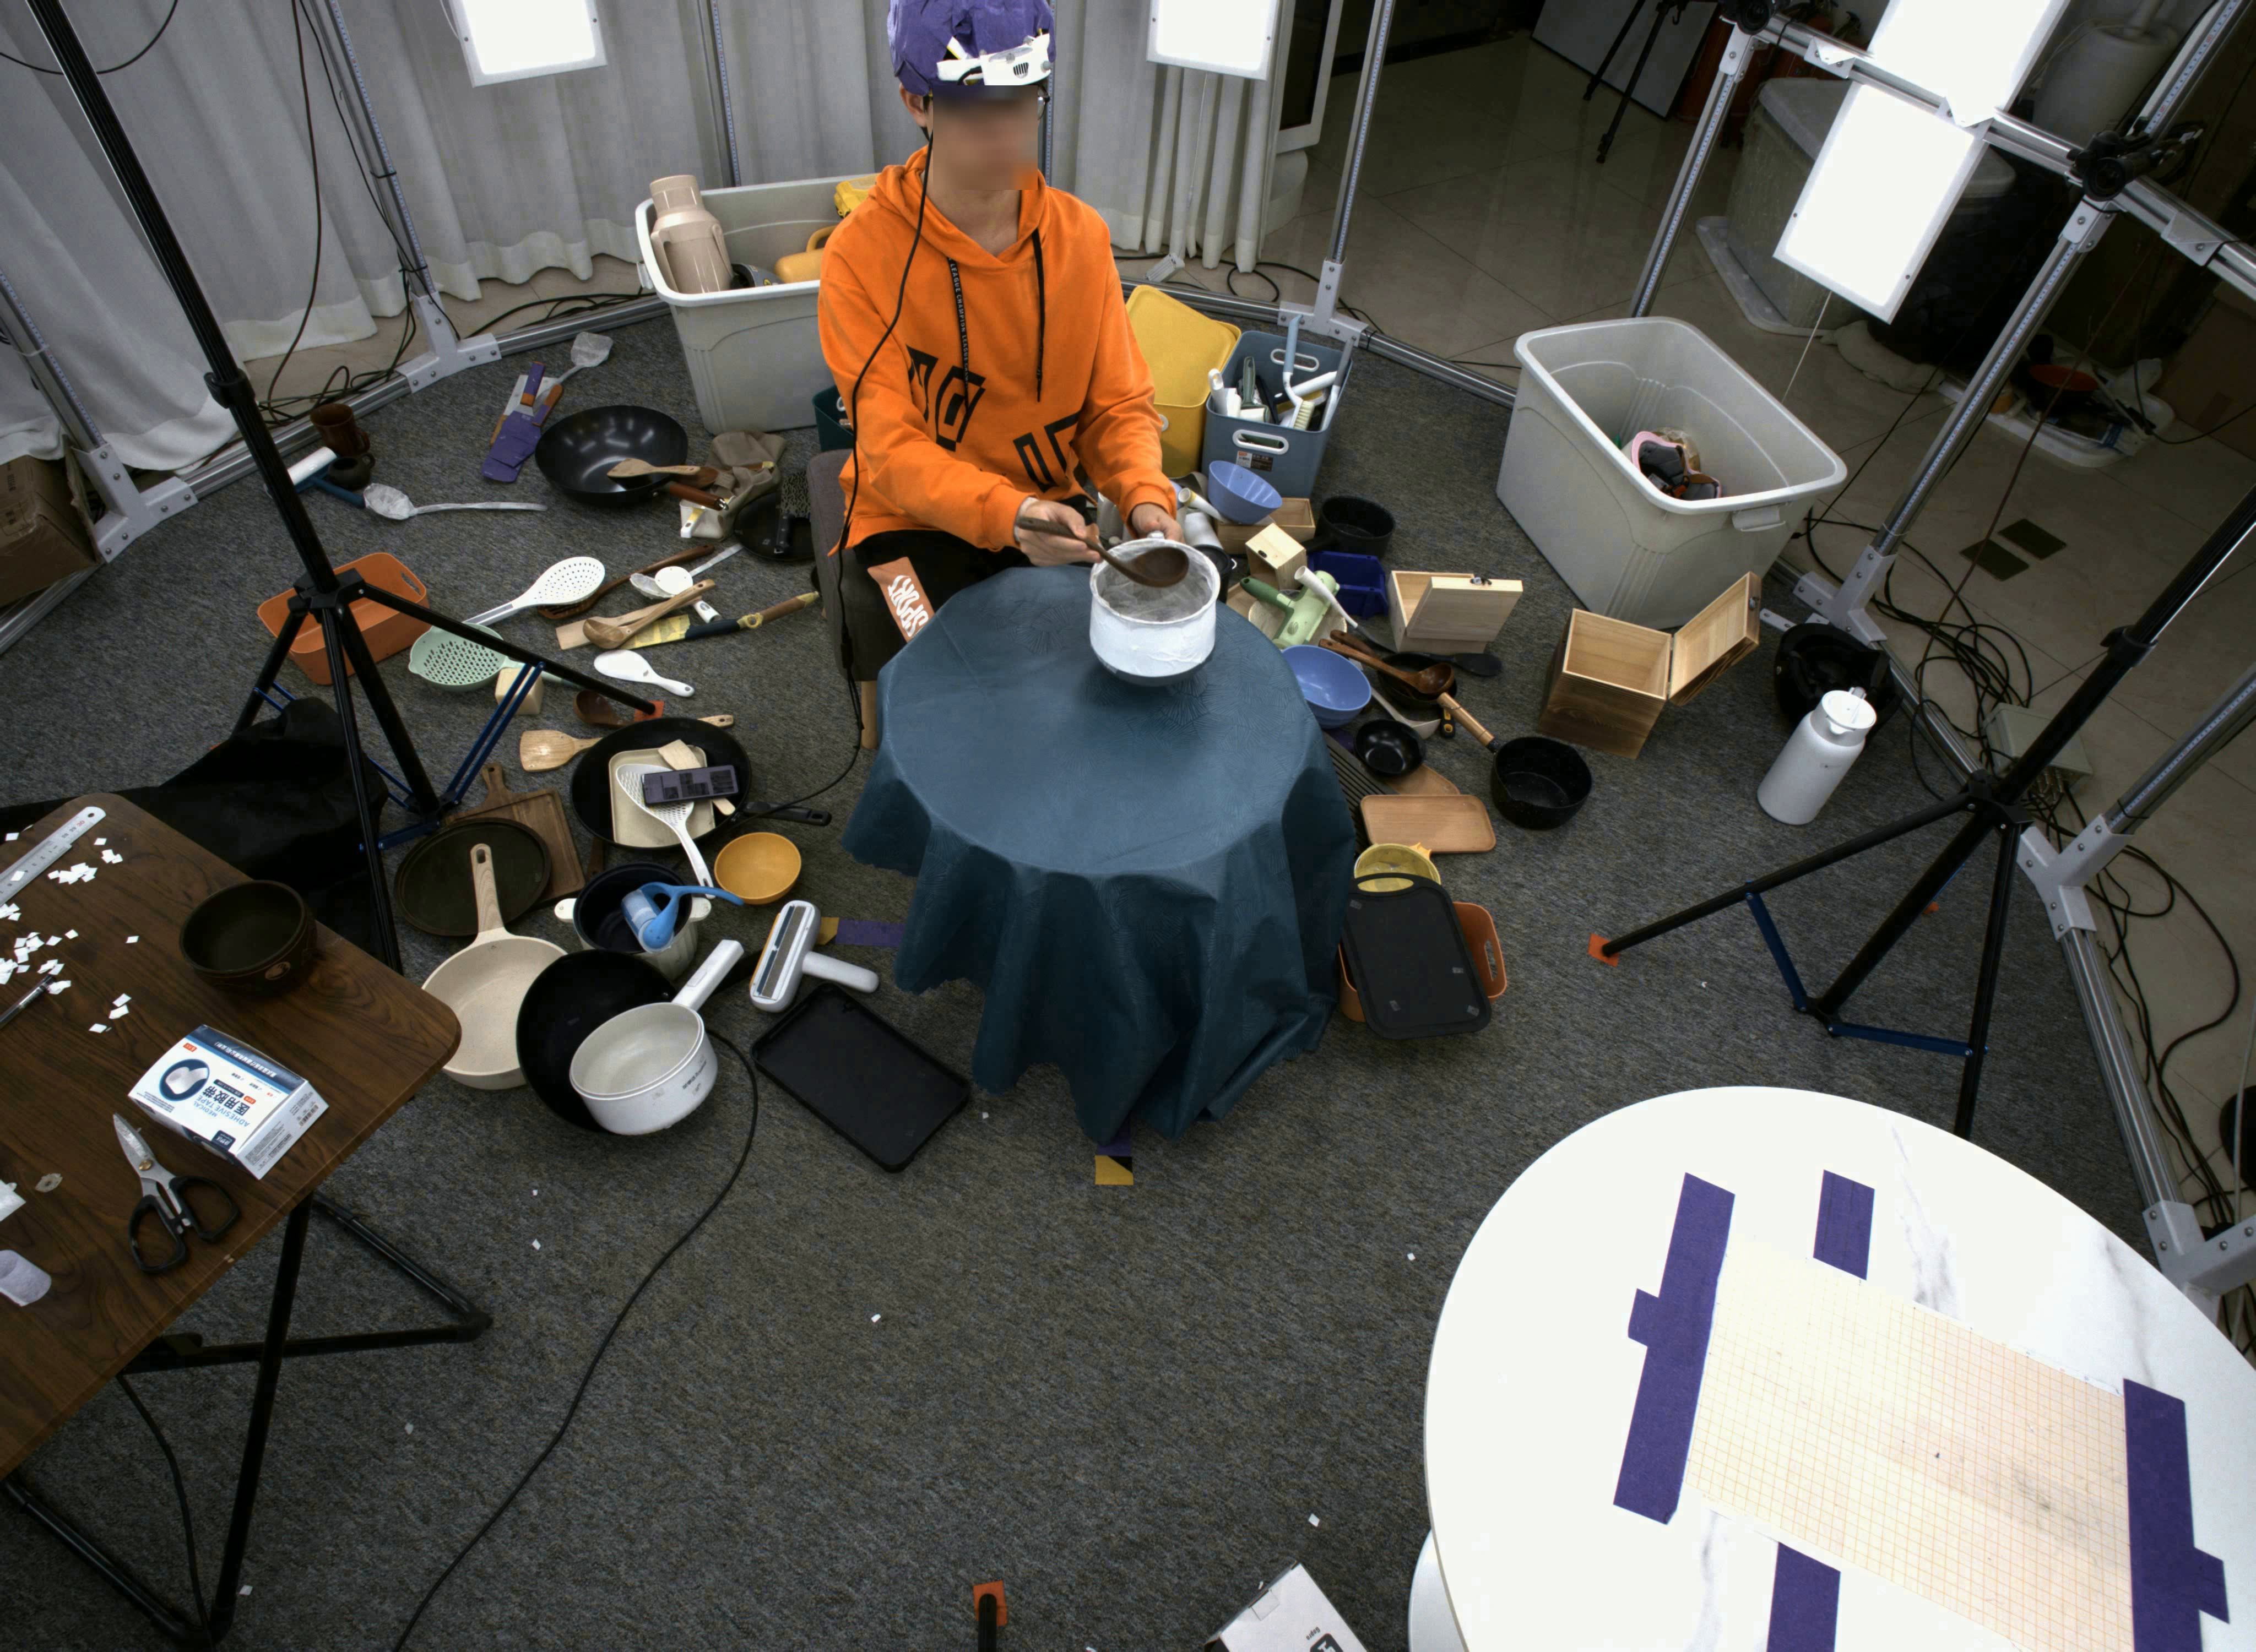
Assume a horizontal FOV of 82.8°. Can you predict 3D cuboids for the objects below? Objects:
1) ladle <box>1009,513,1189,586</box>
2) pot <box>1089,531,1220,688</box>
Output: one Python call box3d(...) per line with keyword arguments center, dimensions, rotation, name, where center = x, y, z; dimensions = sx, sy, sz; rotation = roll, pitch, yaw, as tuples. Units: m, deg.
box3d(center=(-0.031, -0.378, 1.683), dimensions=(0.271, 0.070, 0.078), rotation=(16, 25, -43), name="ladle")
box3d(center=(0.035, -0.312, 1.799), dimensions=(0.178, 0.133, 0.239), rotation=(1, 49, -1), name="pot")
